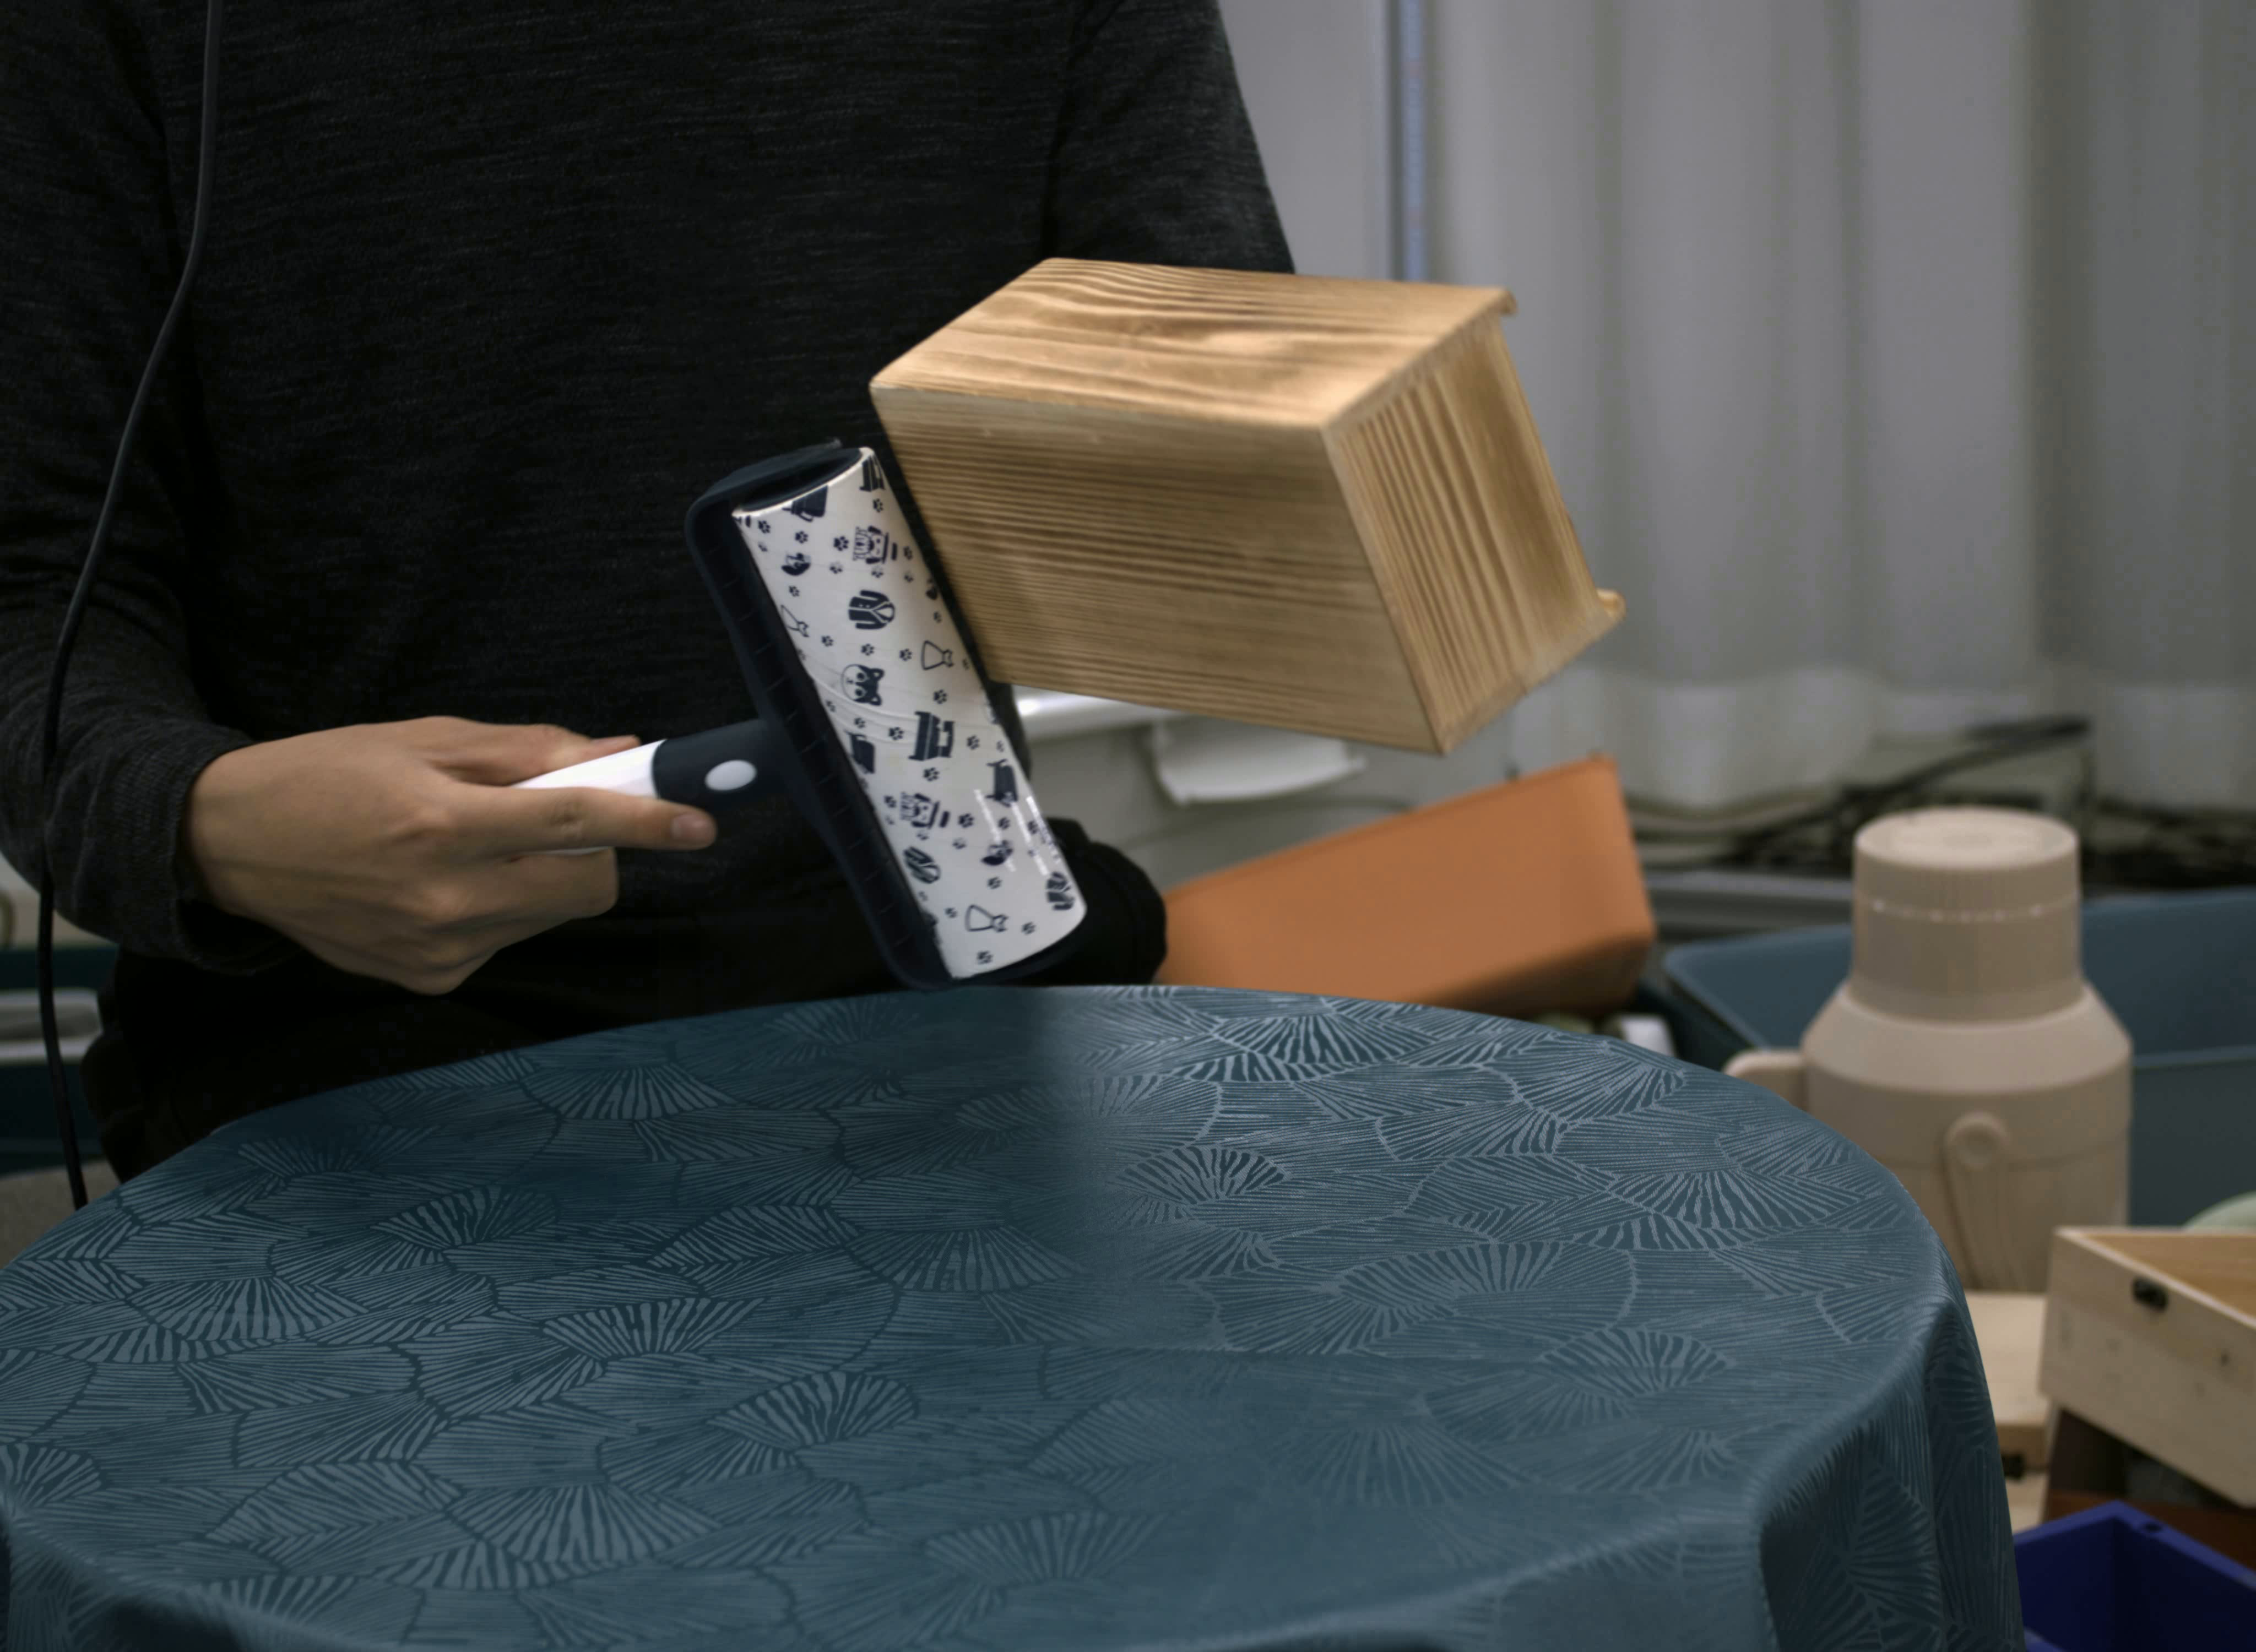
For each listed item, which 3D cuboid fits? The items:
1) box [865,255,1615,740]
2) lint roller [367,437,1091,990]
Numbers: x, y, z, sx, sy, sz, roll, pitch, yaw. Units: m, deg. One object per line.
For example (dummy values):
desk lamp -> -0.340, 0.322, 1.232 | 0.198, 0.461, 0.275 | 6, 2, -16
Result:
box -> 0.030, -0.099, 1.594 | 0.080, 0.106, 0.212 | -35, 26, -30
lint roller -> -0.146, -0.009, 1.717 | 0.246, 0.175, 0.051 | -18, 17, 31
